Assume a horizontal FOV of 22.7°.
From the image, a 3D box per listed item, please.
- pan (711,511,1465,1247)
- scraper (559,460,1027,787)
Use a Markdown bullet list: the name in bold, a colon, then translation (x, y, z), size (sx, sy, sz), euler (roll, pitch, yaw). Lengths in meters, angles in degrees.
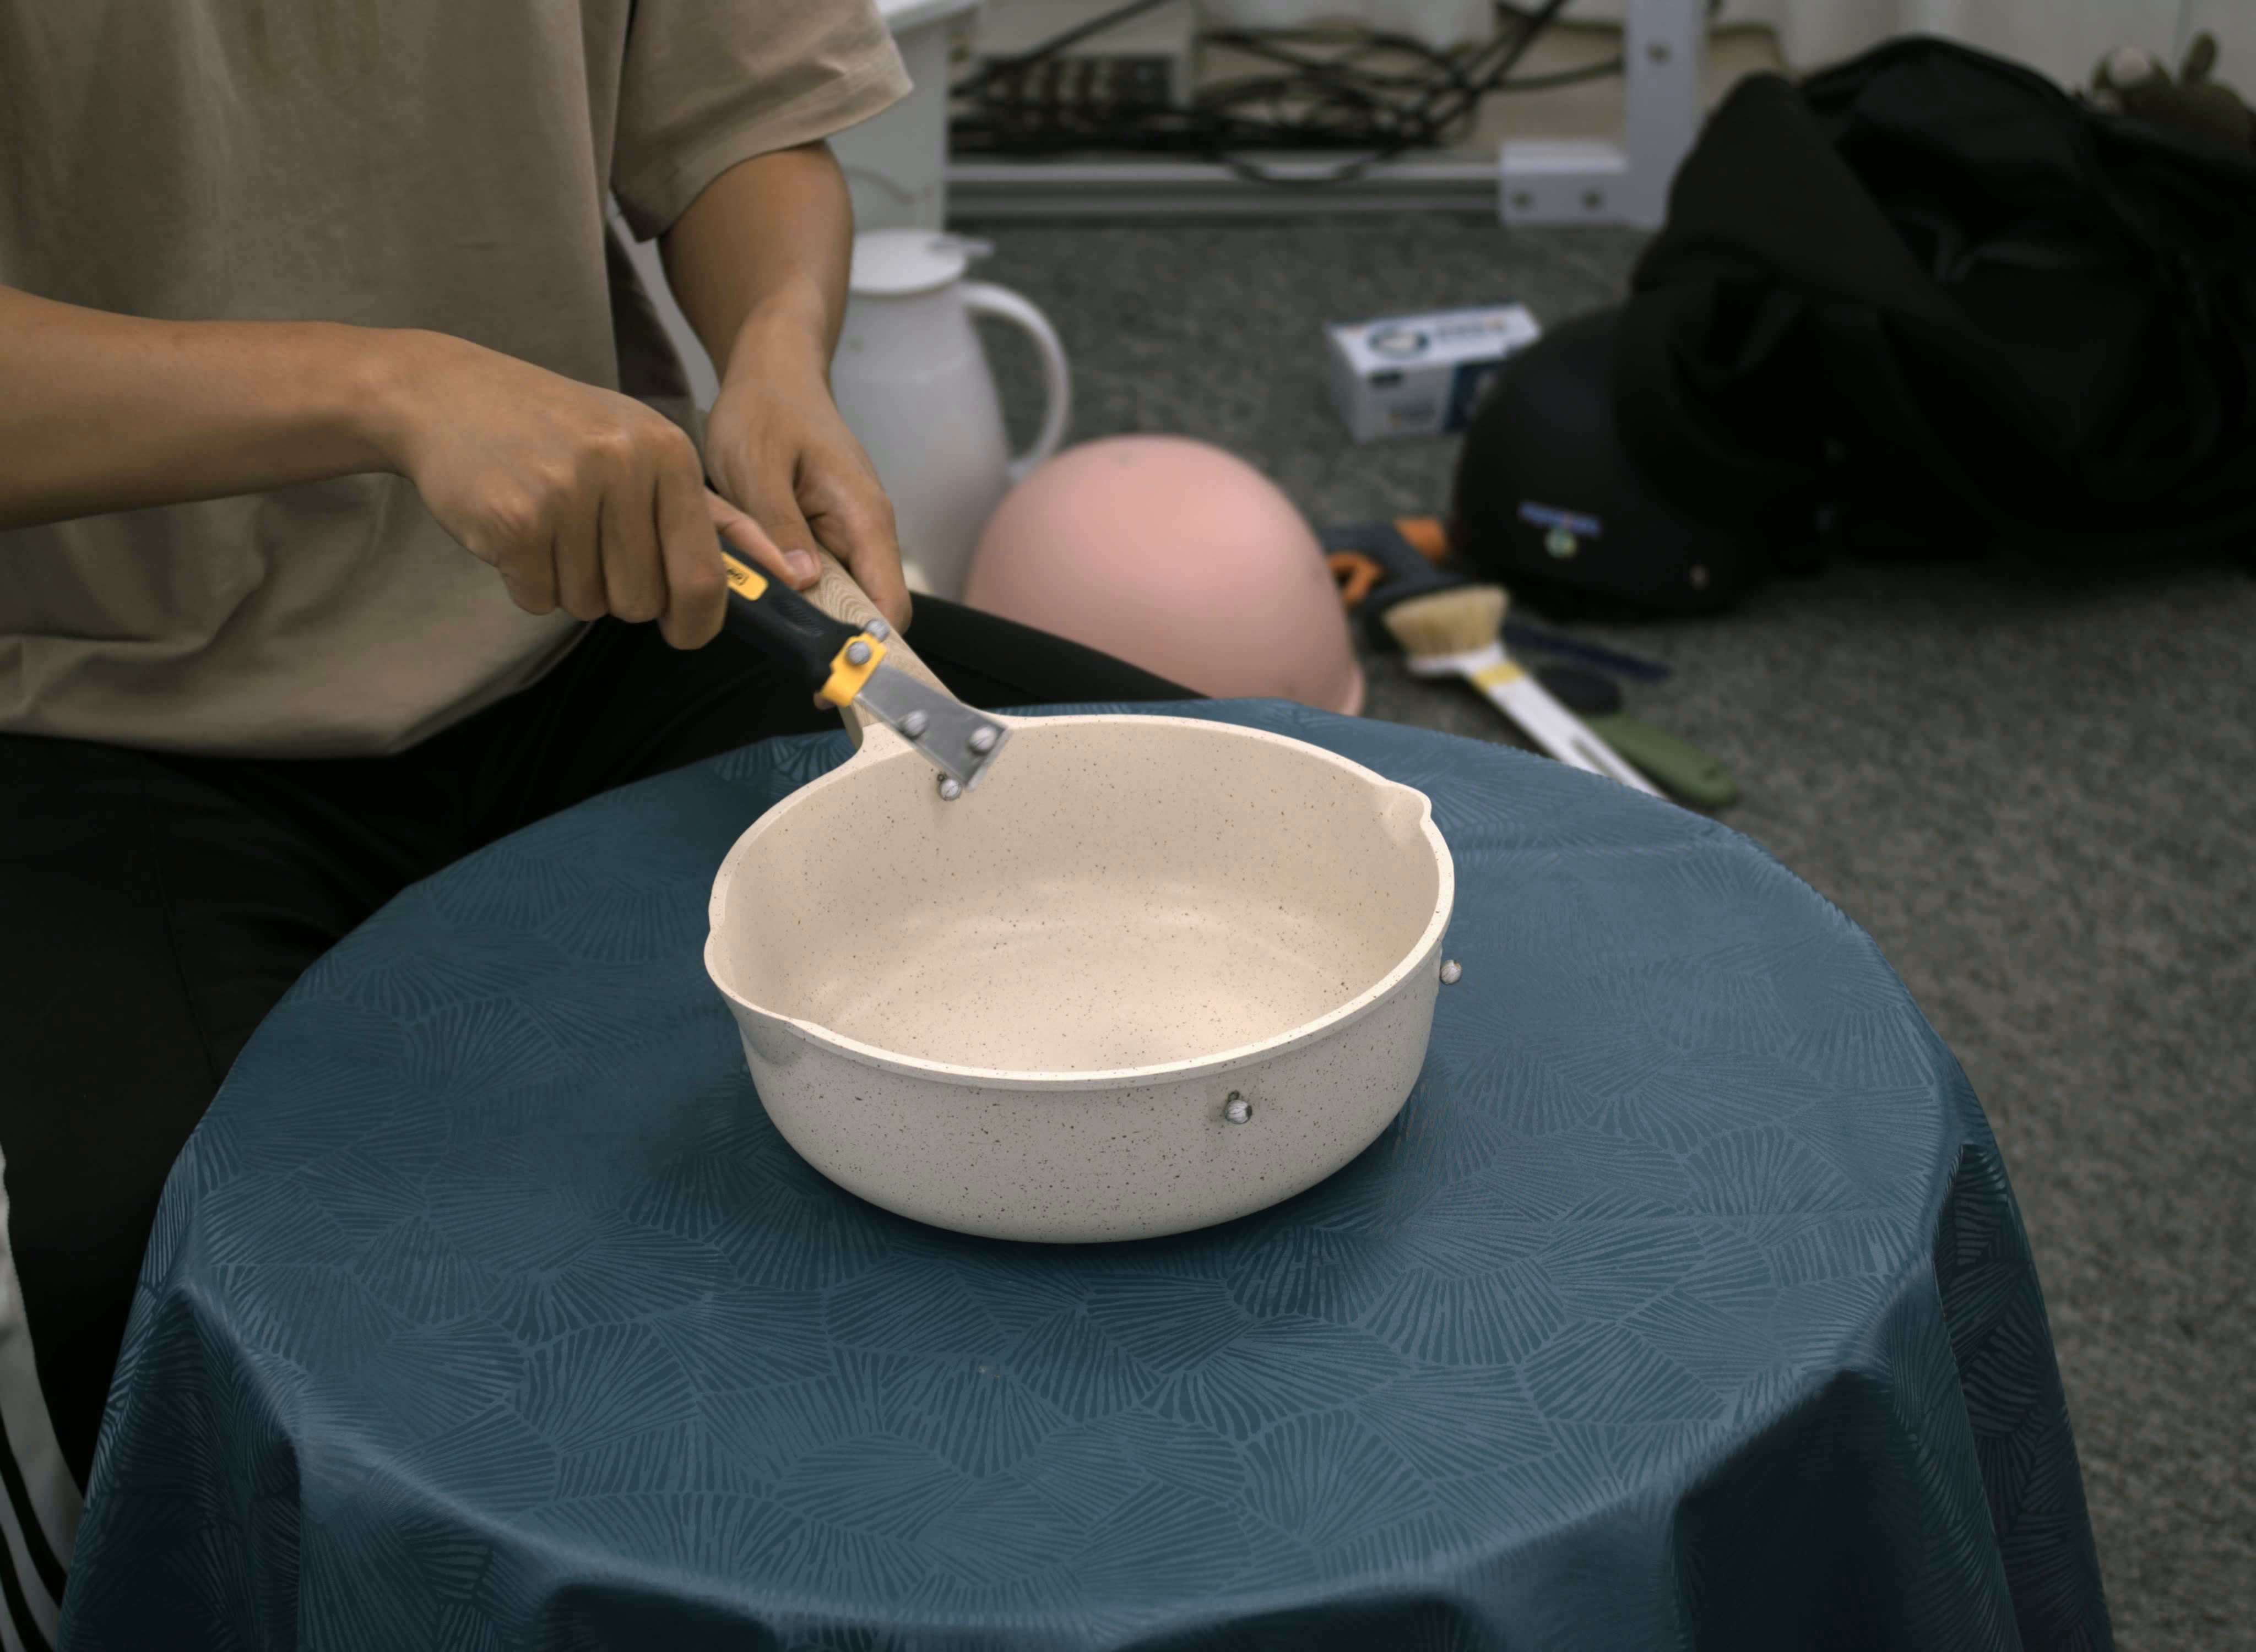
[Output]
- **pan**: translation (-0.049, 0.012, 1.976), size (0.264, 0.101, 0.437), euler (-17, 31, -20)
- **scraper**: translation (-0.112, -0.068, 1.851), size (0.170, 0.014, 0.039), euler (32, 49, -2)
